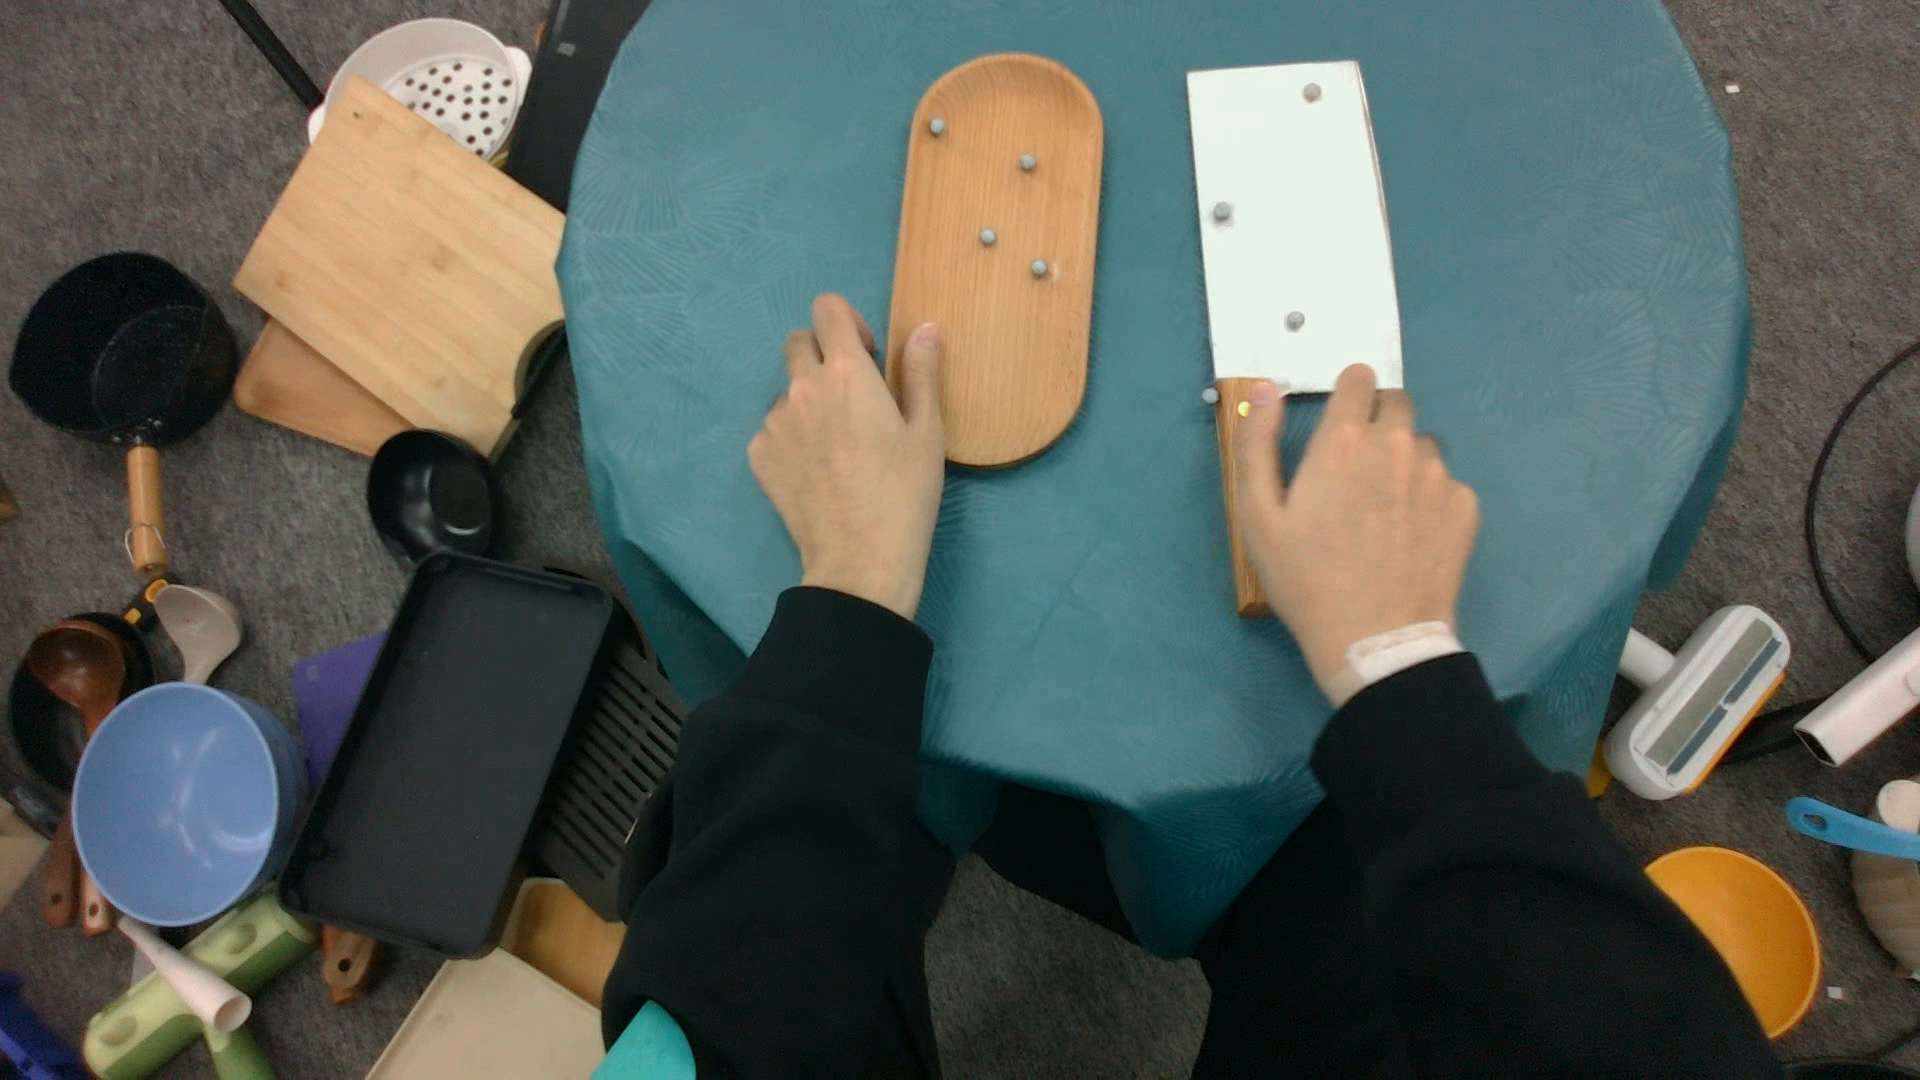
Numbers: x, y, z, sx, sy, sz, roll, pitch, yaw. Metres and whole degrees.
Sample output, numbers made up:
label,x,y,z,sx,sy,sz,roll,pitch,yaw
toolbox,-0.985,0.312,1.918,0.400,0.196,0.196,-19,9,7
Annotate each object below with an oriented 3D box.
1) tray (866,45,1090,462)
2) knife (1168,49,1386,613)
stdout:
label,x,y,z,sx,sy,sz,roll,pitch,yaw
tray,0.011,-0.148,0.696,0.101,0.020,0.232,4,74,5
knife,0.159,-0.113,0.676,0.093,0.021,0.306,-3,71,1
